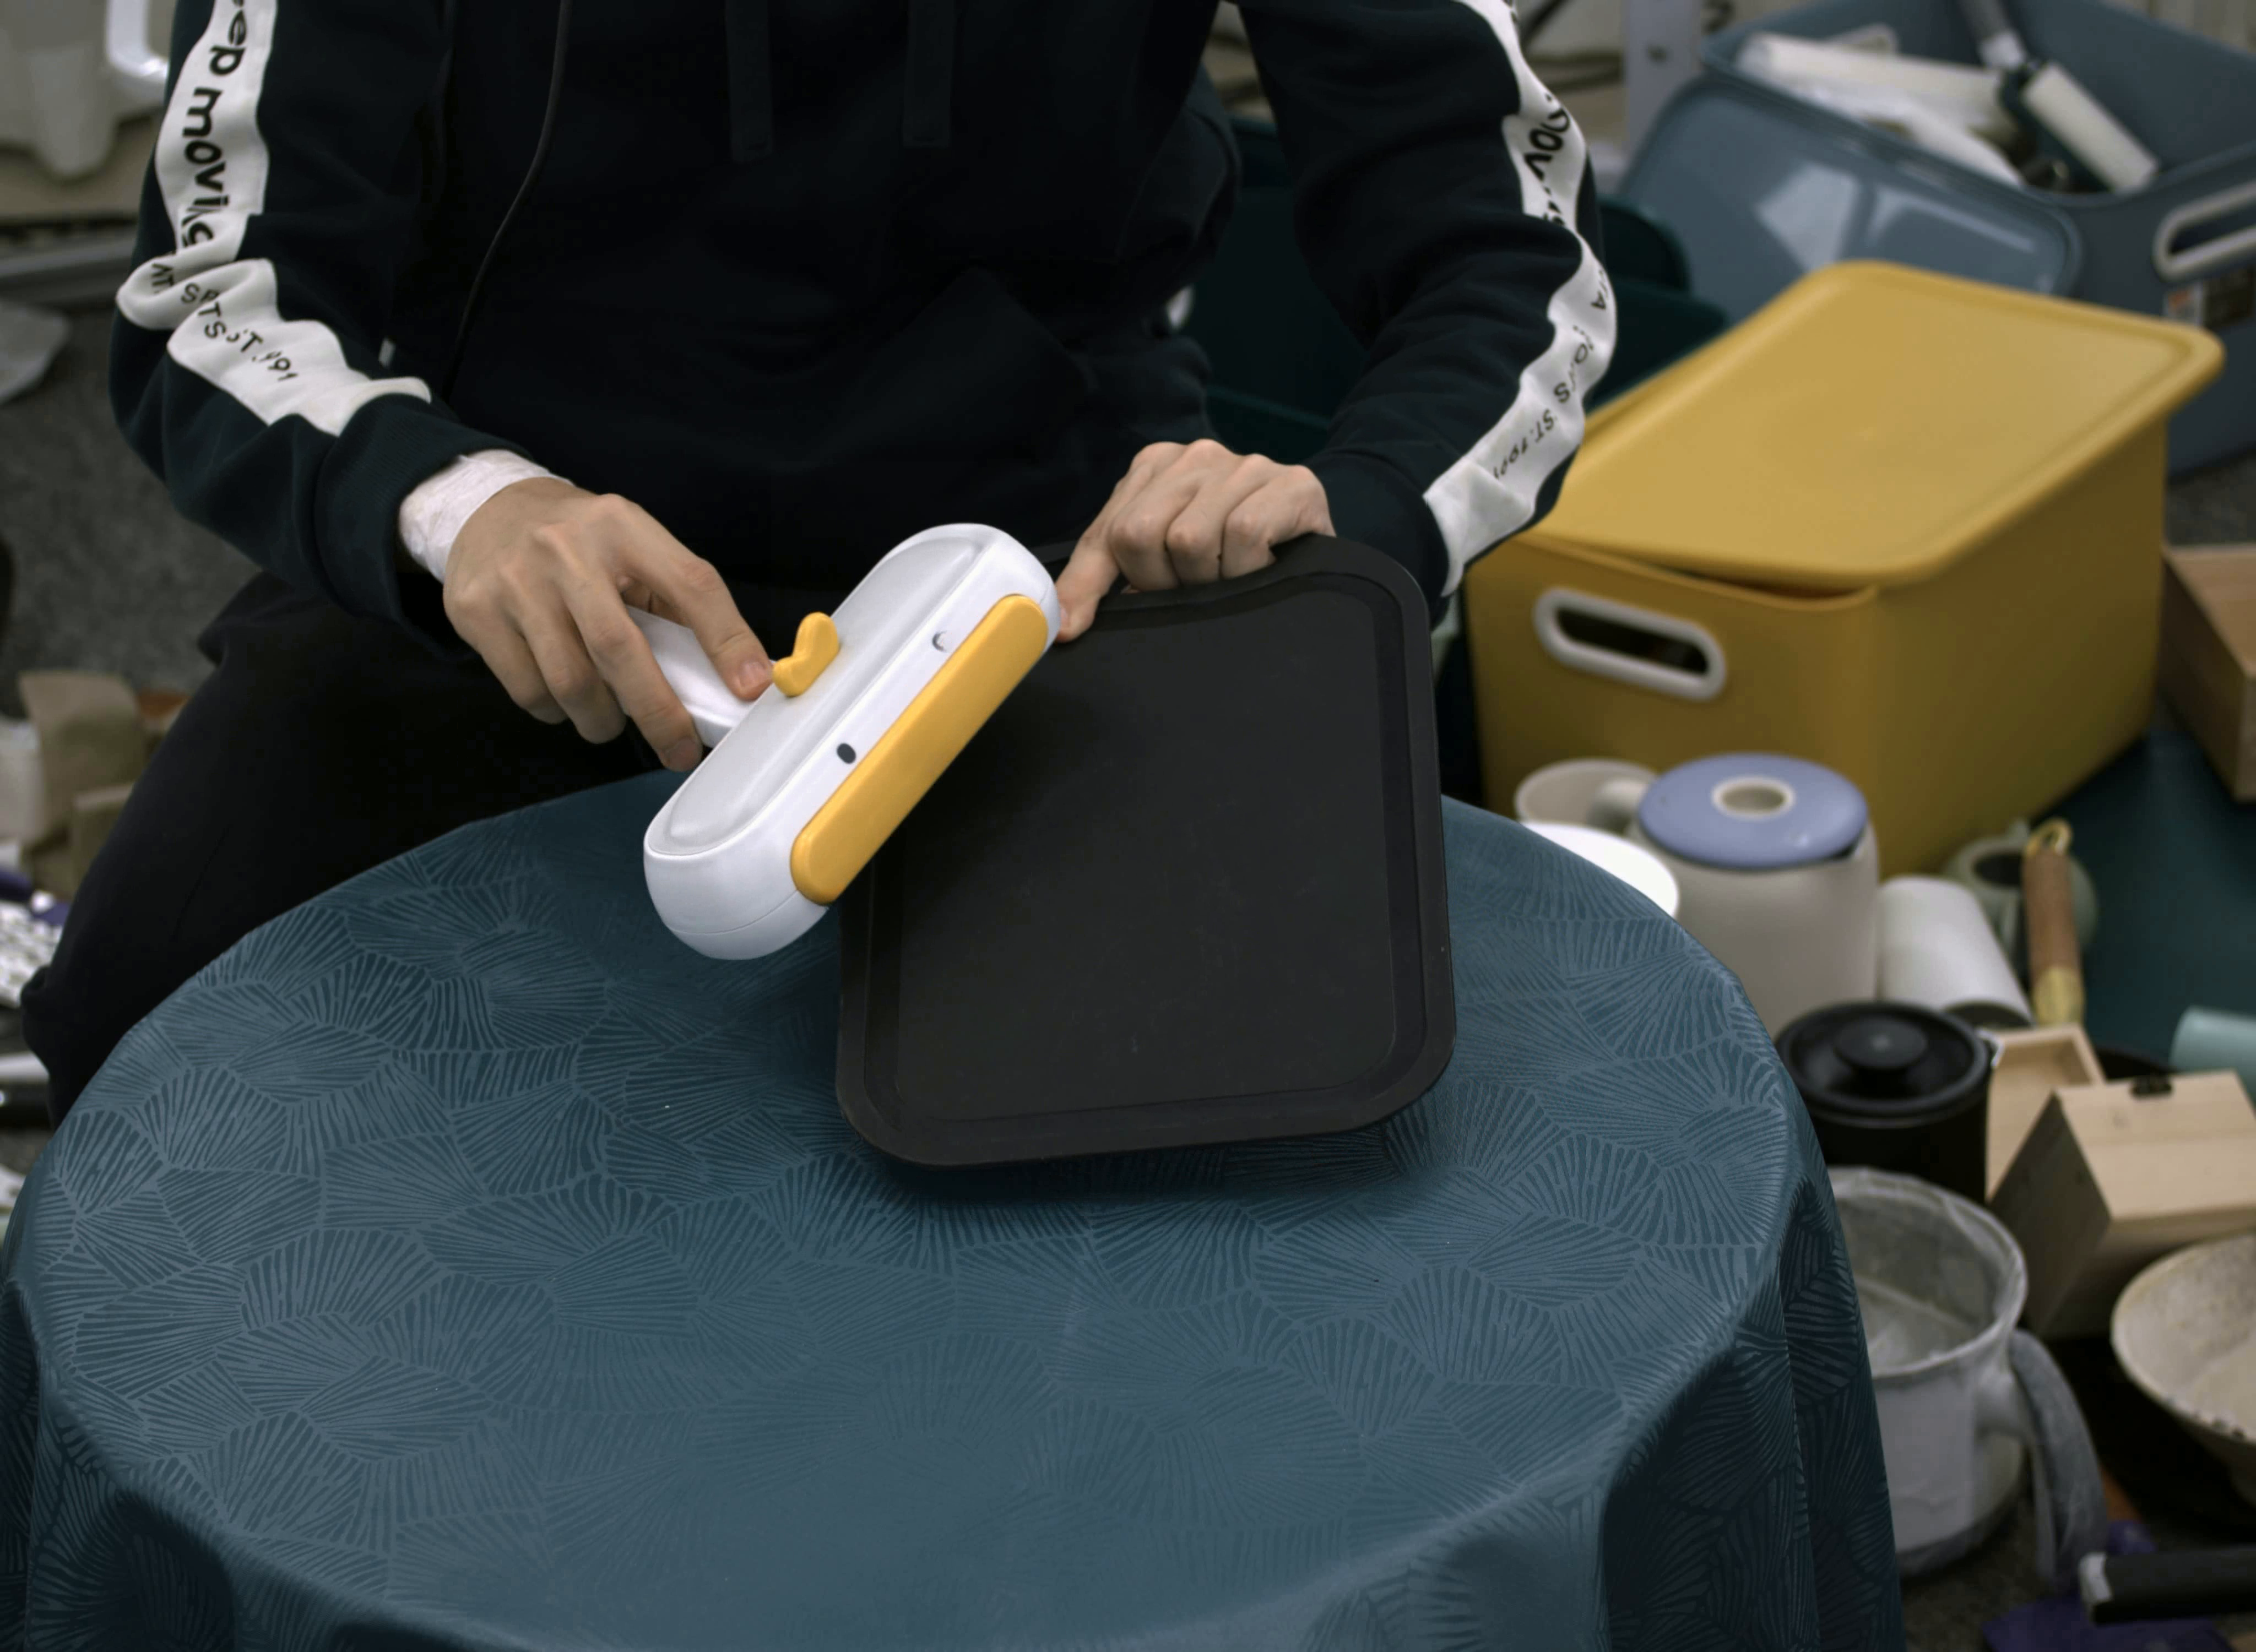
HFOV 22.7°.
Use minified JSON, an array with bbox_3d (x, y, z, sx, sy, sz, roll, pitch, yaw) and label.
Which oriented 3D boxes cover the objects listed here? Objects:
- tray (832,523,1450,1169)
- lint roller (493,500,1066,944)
[{"bbox_3d":[0.004,-0.002,1.964,0.210,0.009,0.332,-5,41,4],"label":"tray"},{"bbox_3d":[-0.140,-0.047,1.984,0.191,0.073,0.196,5,50,37],"label":"lint roller"}]
